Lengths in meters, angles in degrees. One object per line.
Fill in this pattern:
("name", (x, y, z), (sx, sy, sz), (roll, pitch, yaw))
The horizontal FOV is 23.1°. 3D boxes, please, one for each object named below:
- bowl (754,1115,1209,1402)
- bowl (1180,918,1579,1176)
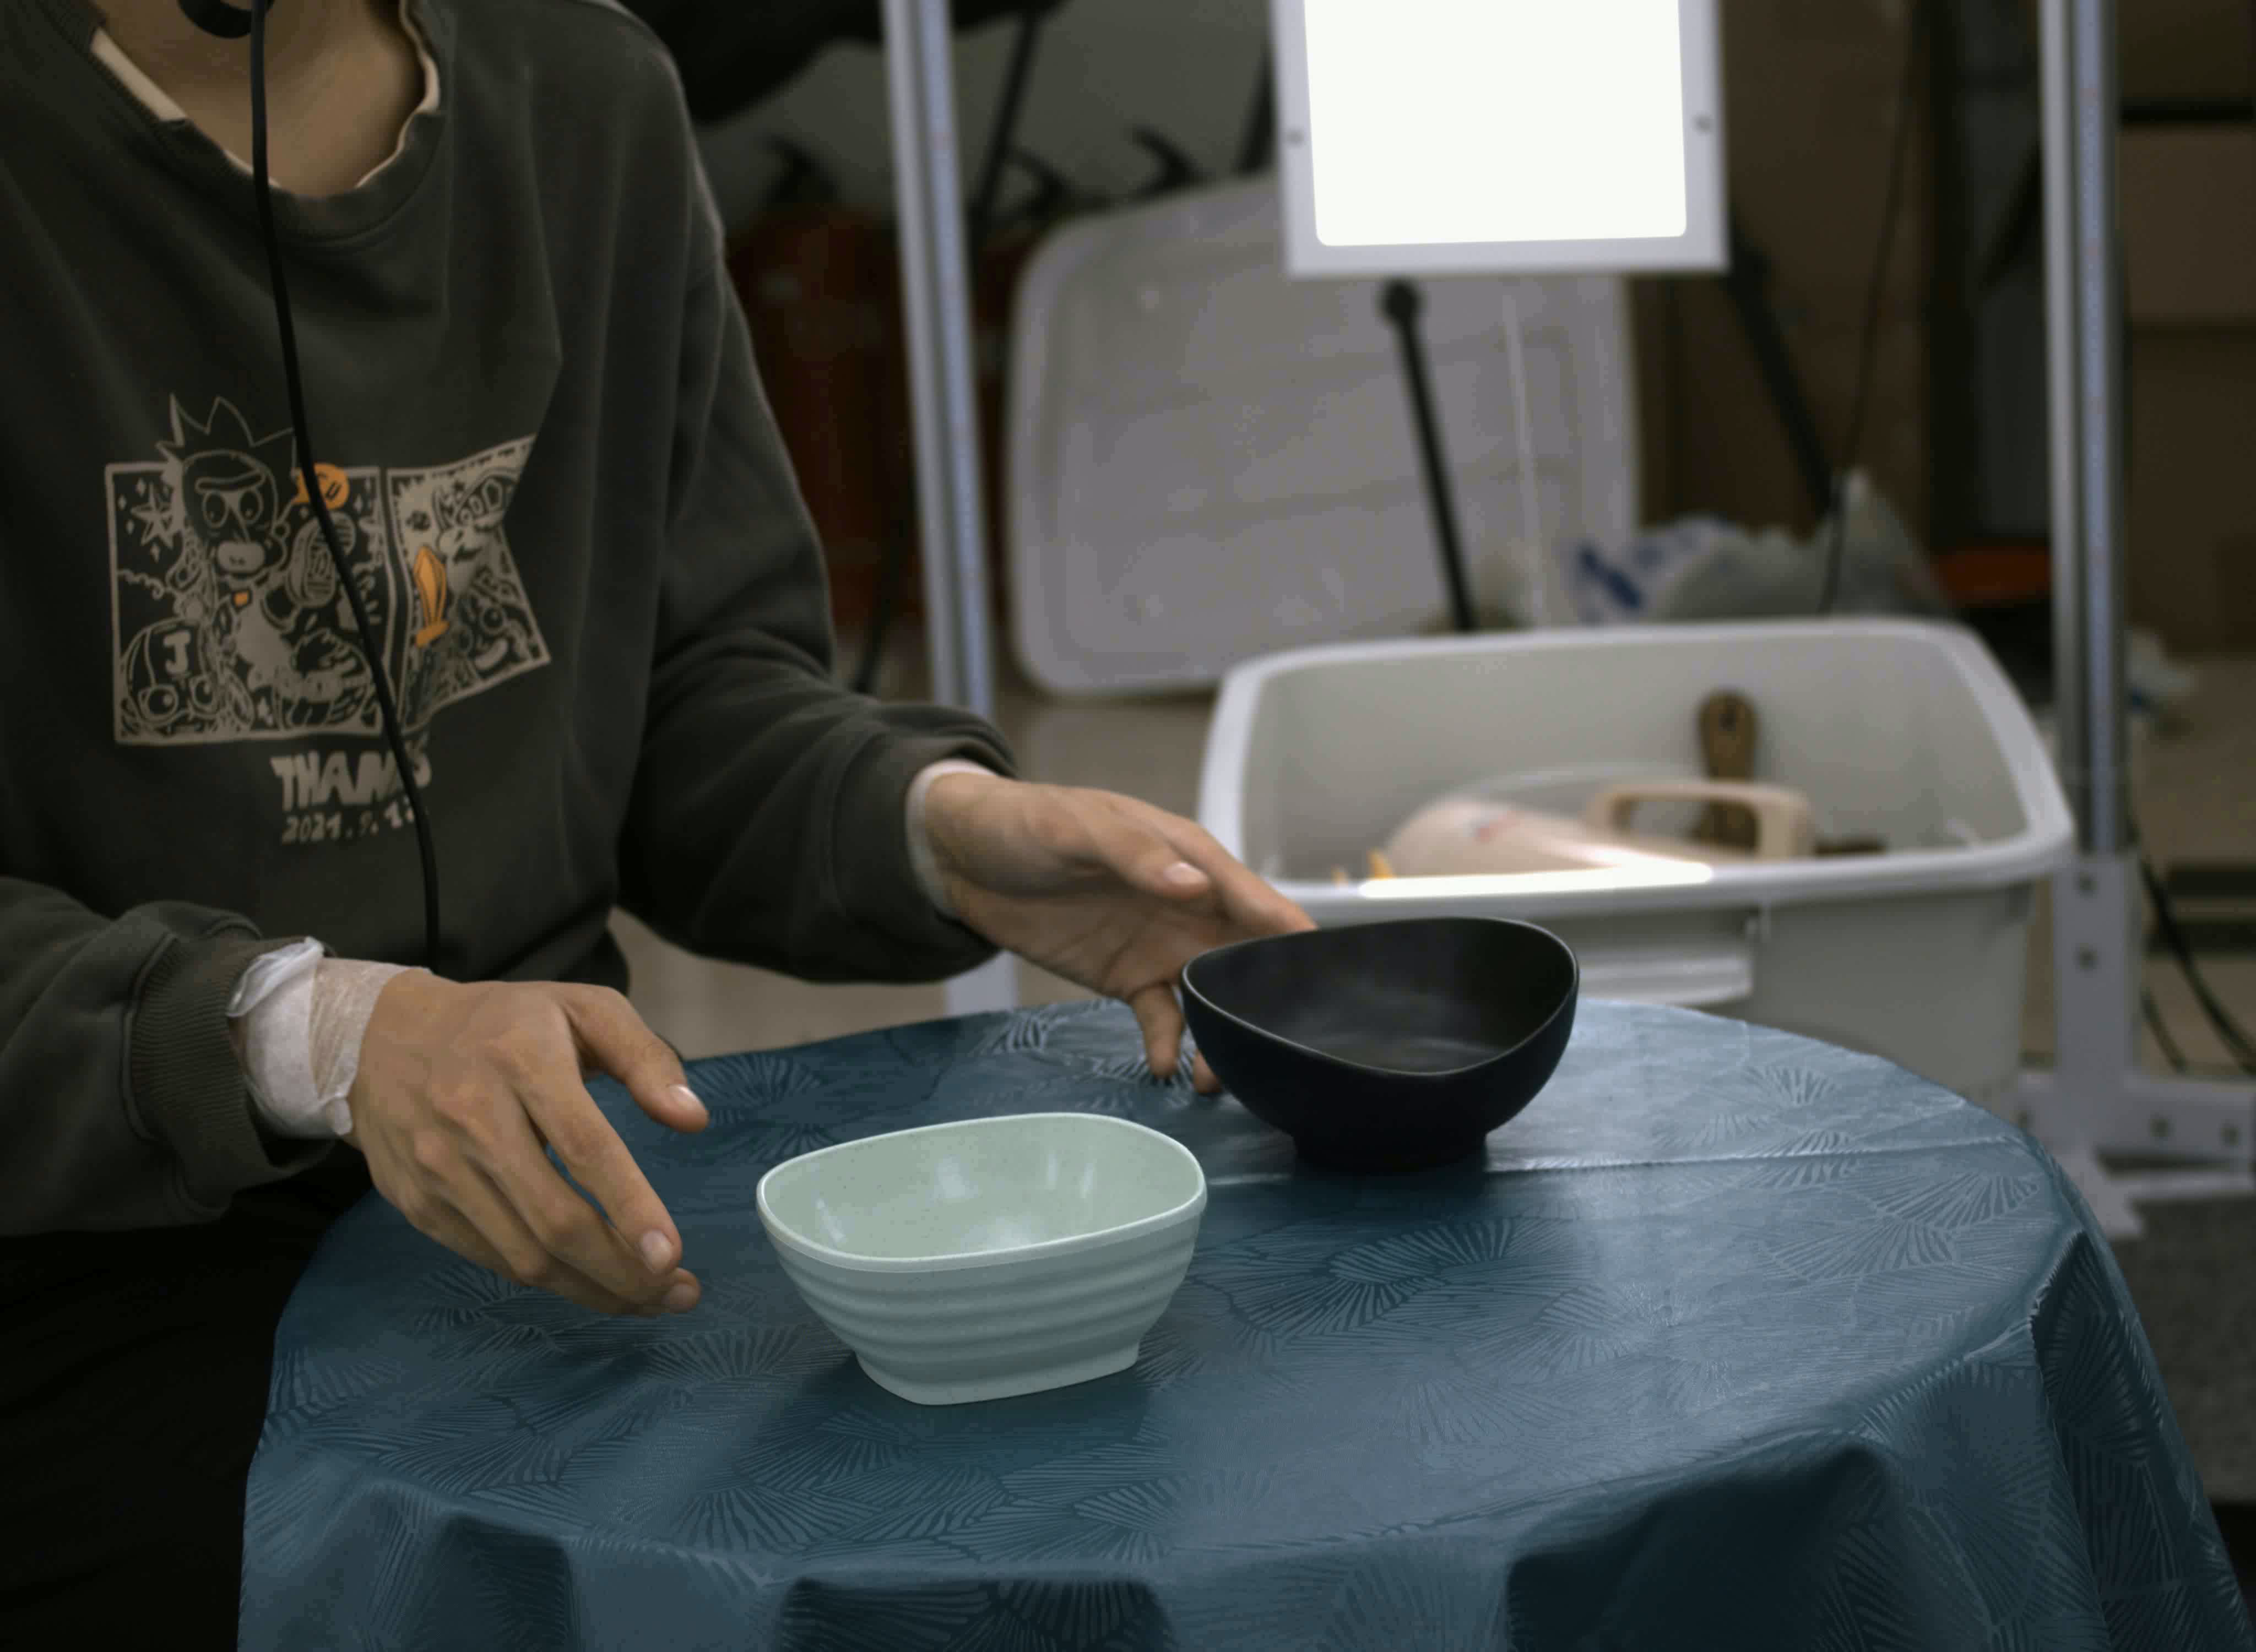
("bowl", (-0.046, 0.139, 1.740), (0.151, 0.059, 0.151), (-3, 14, -1))
("bowl", (0.091, 0.081, 1.919), (0.135, 0.067, 0.172), (-8, 16, -12))
